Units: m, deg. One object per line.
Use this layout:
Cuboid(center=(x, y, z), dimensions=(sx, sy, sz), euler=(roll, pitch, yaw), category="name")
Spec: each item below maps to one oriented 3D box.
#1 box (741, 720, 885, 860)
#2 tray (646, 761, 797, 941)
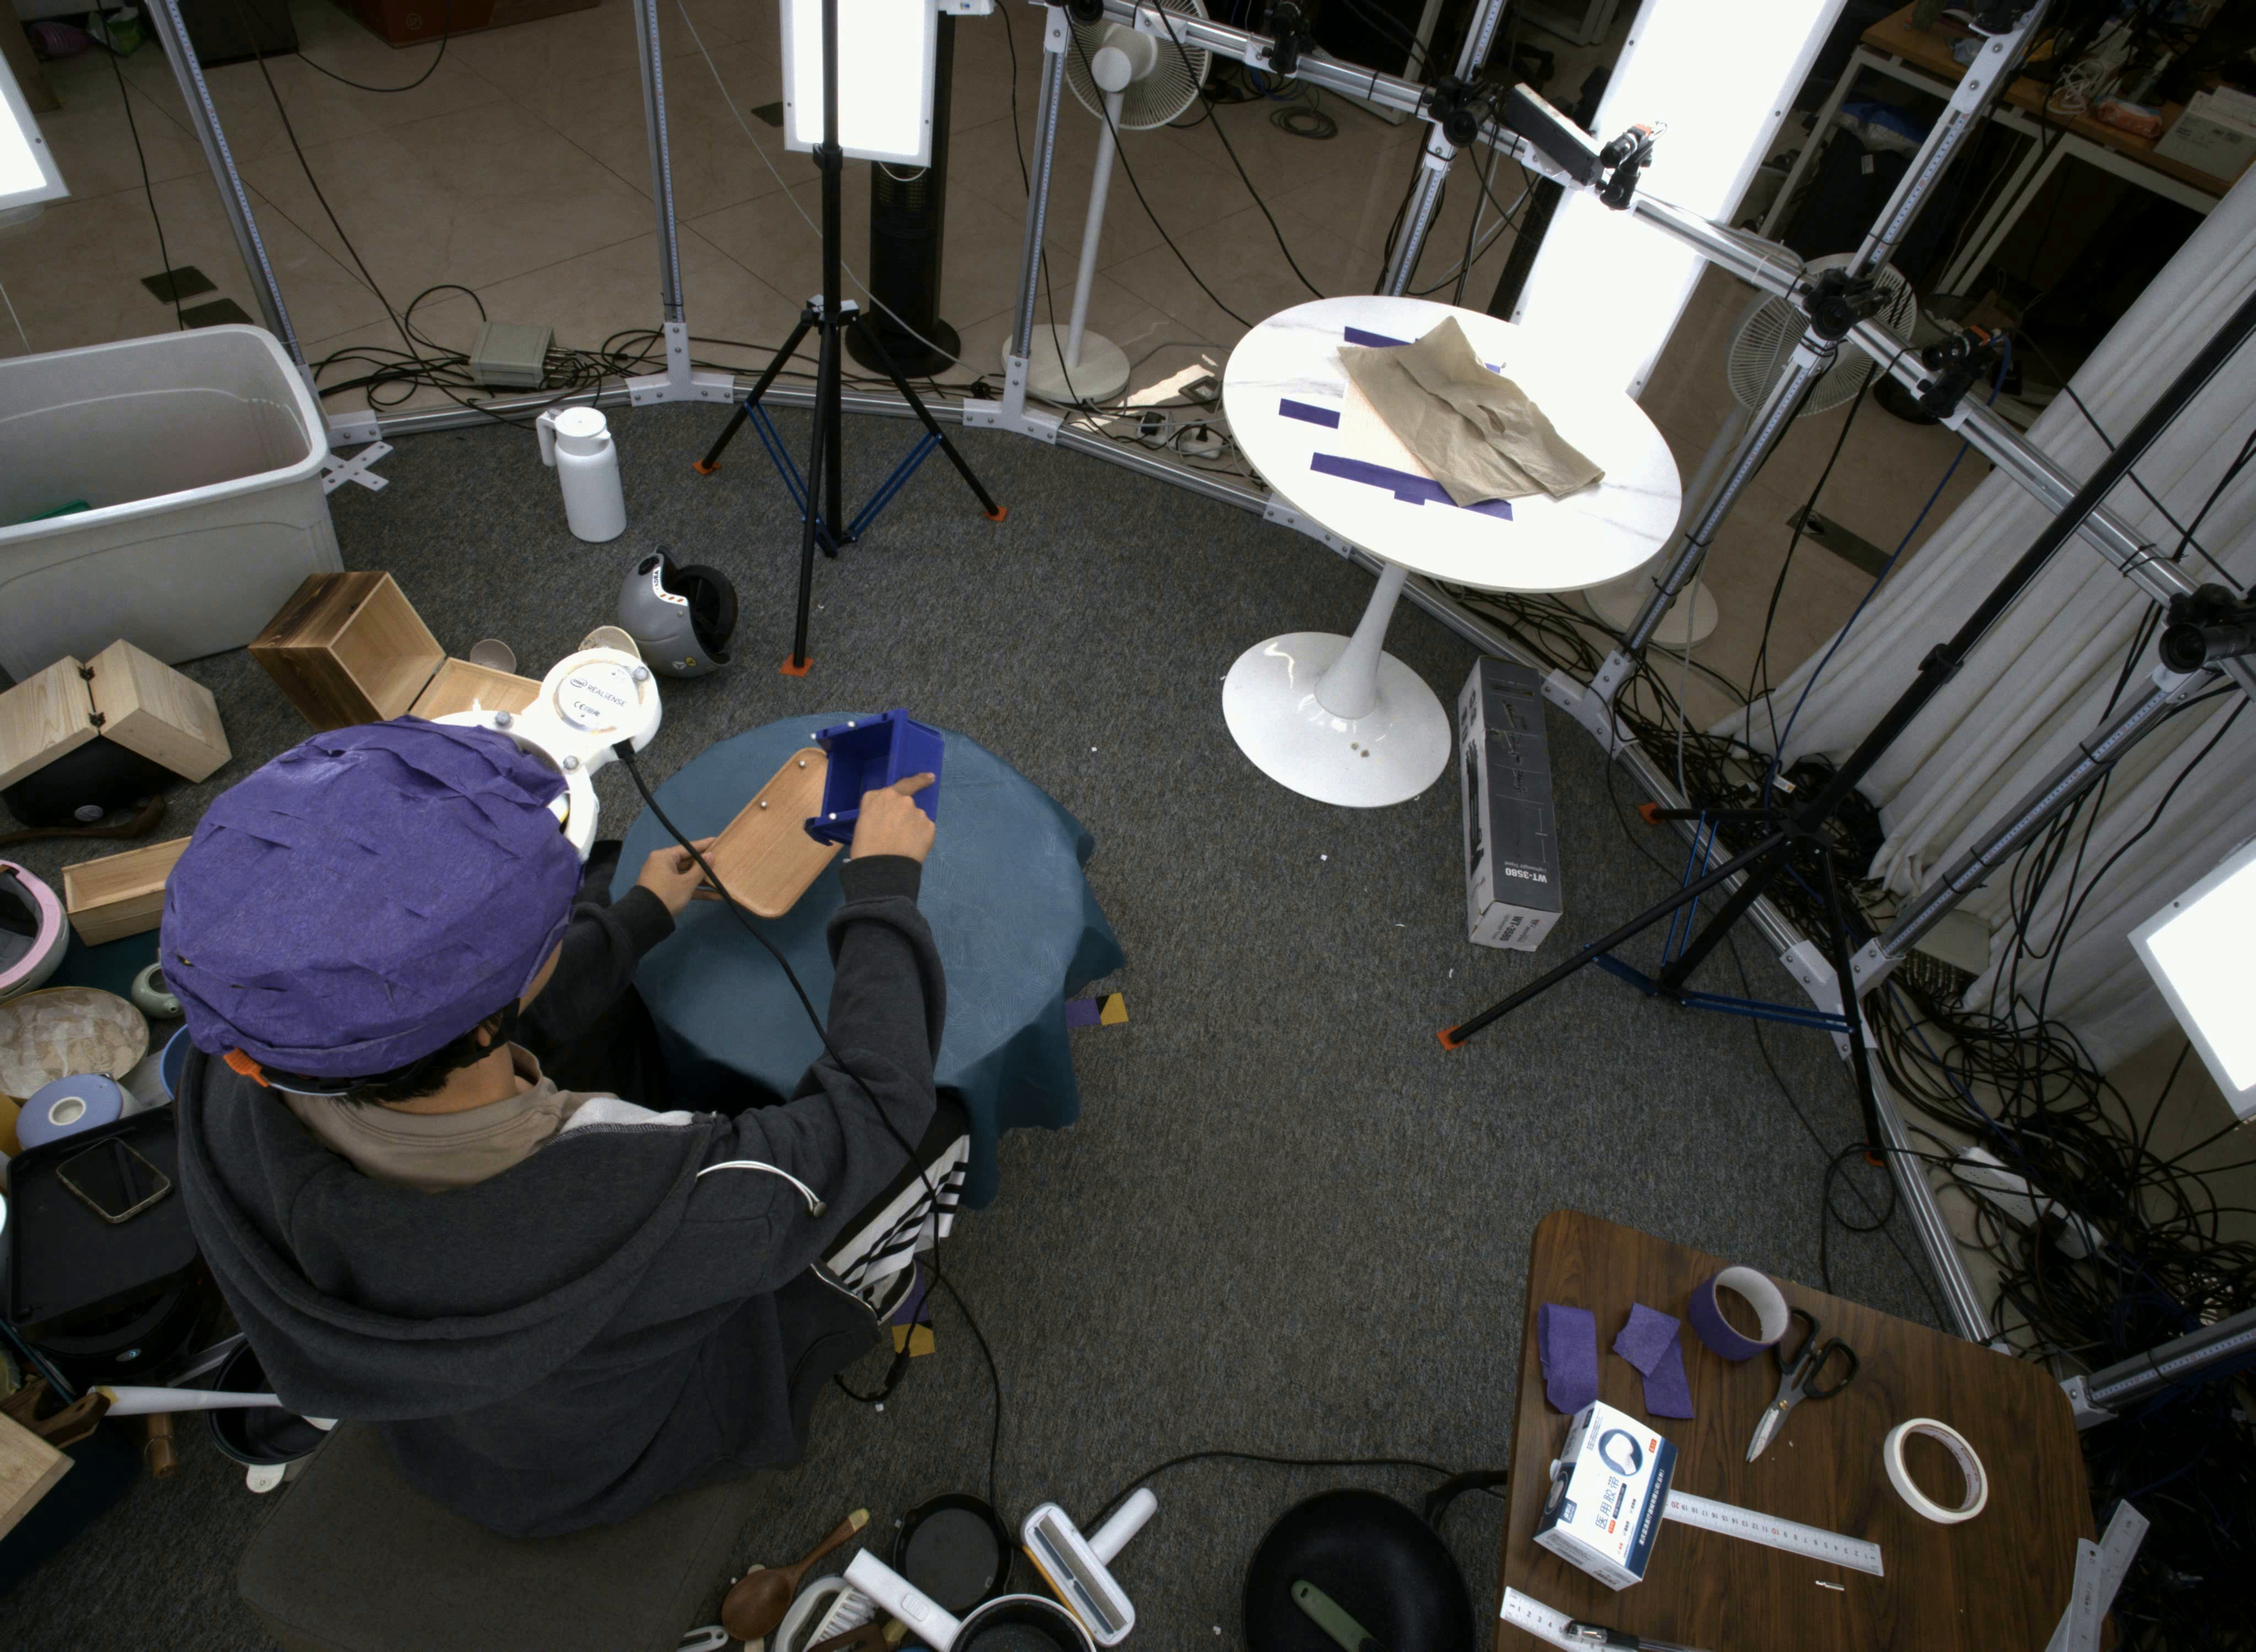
Cuboid(center=(-0.359, -0.035, 1.455), dimensions=(0.174, 0.084, 0.124), euler=(-6, 74, 32), category="box")
Cuboid(center=(-0.480, 0.027, 1.600), dimensions=(0.130, 0.023, 0.249), euler=(29, 53, 0), category="tray")
